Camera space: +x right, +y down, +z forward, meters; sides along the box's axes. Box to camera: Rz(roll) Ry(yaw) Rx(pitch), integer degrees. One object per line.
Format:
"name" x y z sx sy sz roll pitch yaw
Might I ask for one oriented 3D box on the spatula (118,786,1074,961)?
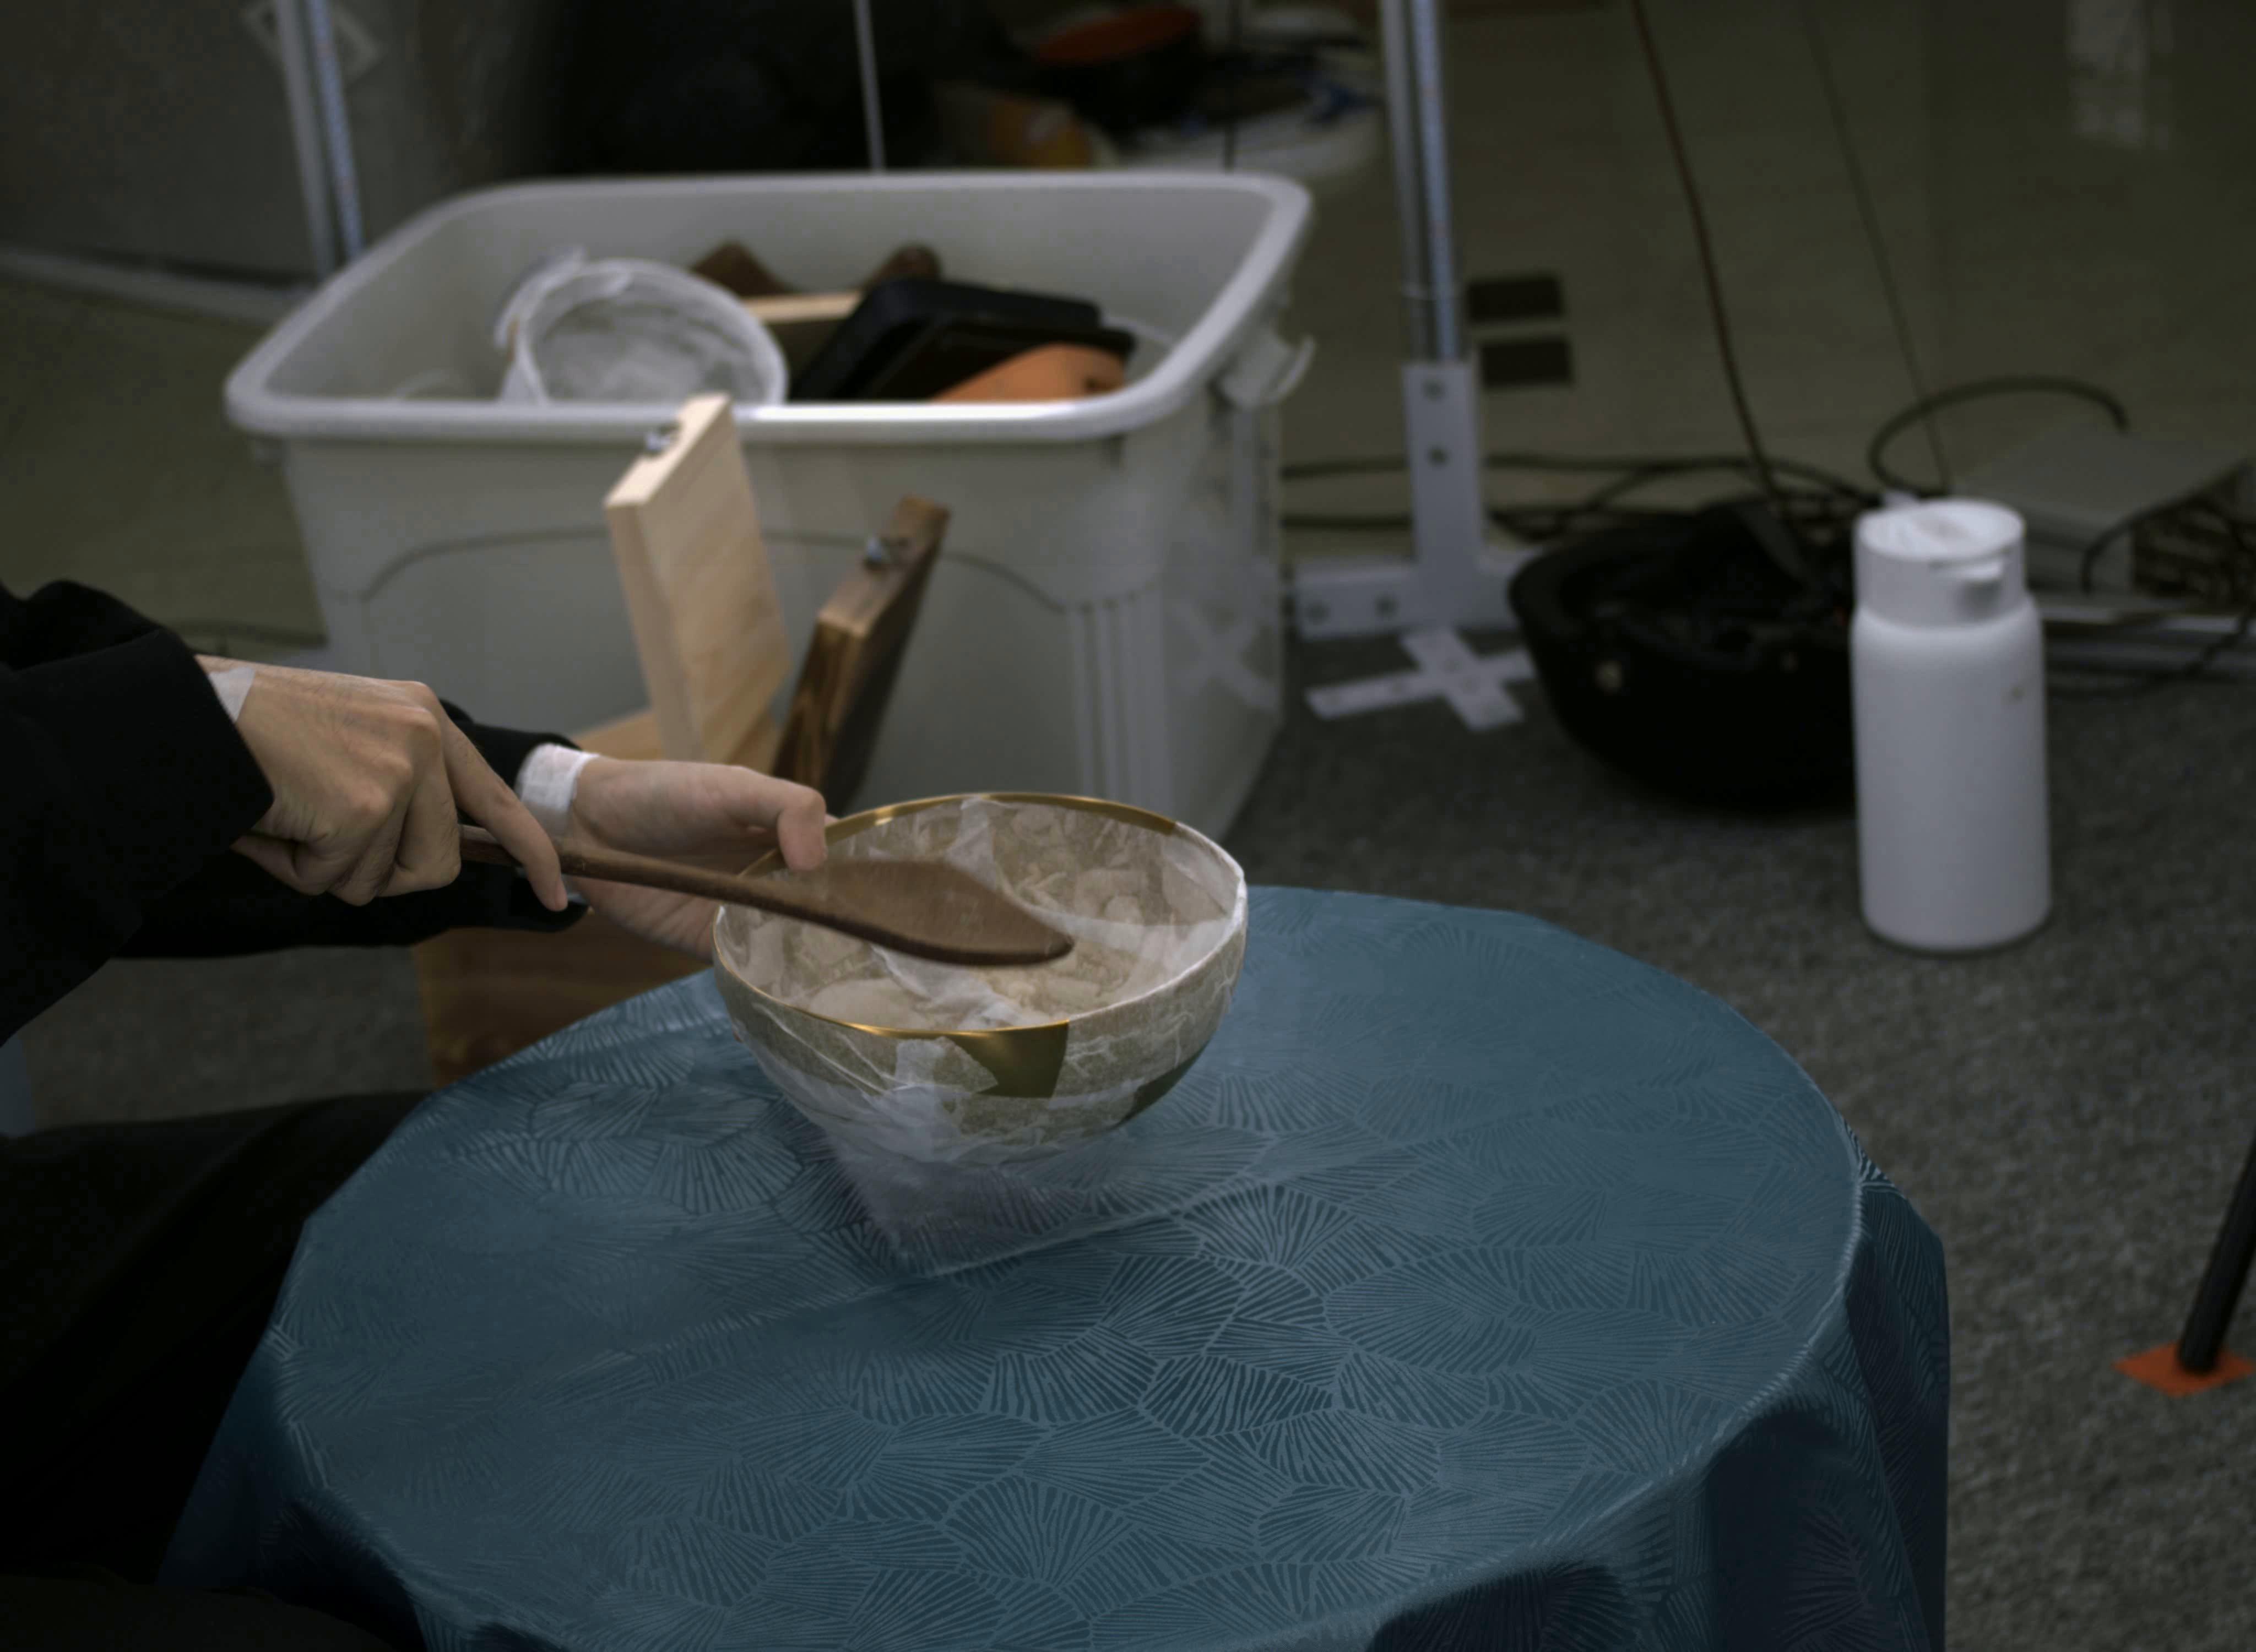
"spatula" -0.186 0.013 2.016 0.387 0.016 0.095 8 18 -38

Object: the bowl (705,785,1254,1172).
"bowl" -0.054 0.070 2.142 0.214 0.096 0.211 -4 27 2
